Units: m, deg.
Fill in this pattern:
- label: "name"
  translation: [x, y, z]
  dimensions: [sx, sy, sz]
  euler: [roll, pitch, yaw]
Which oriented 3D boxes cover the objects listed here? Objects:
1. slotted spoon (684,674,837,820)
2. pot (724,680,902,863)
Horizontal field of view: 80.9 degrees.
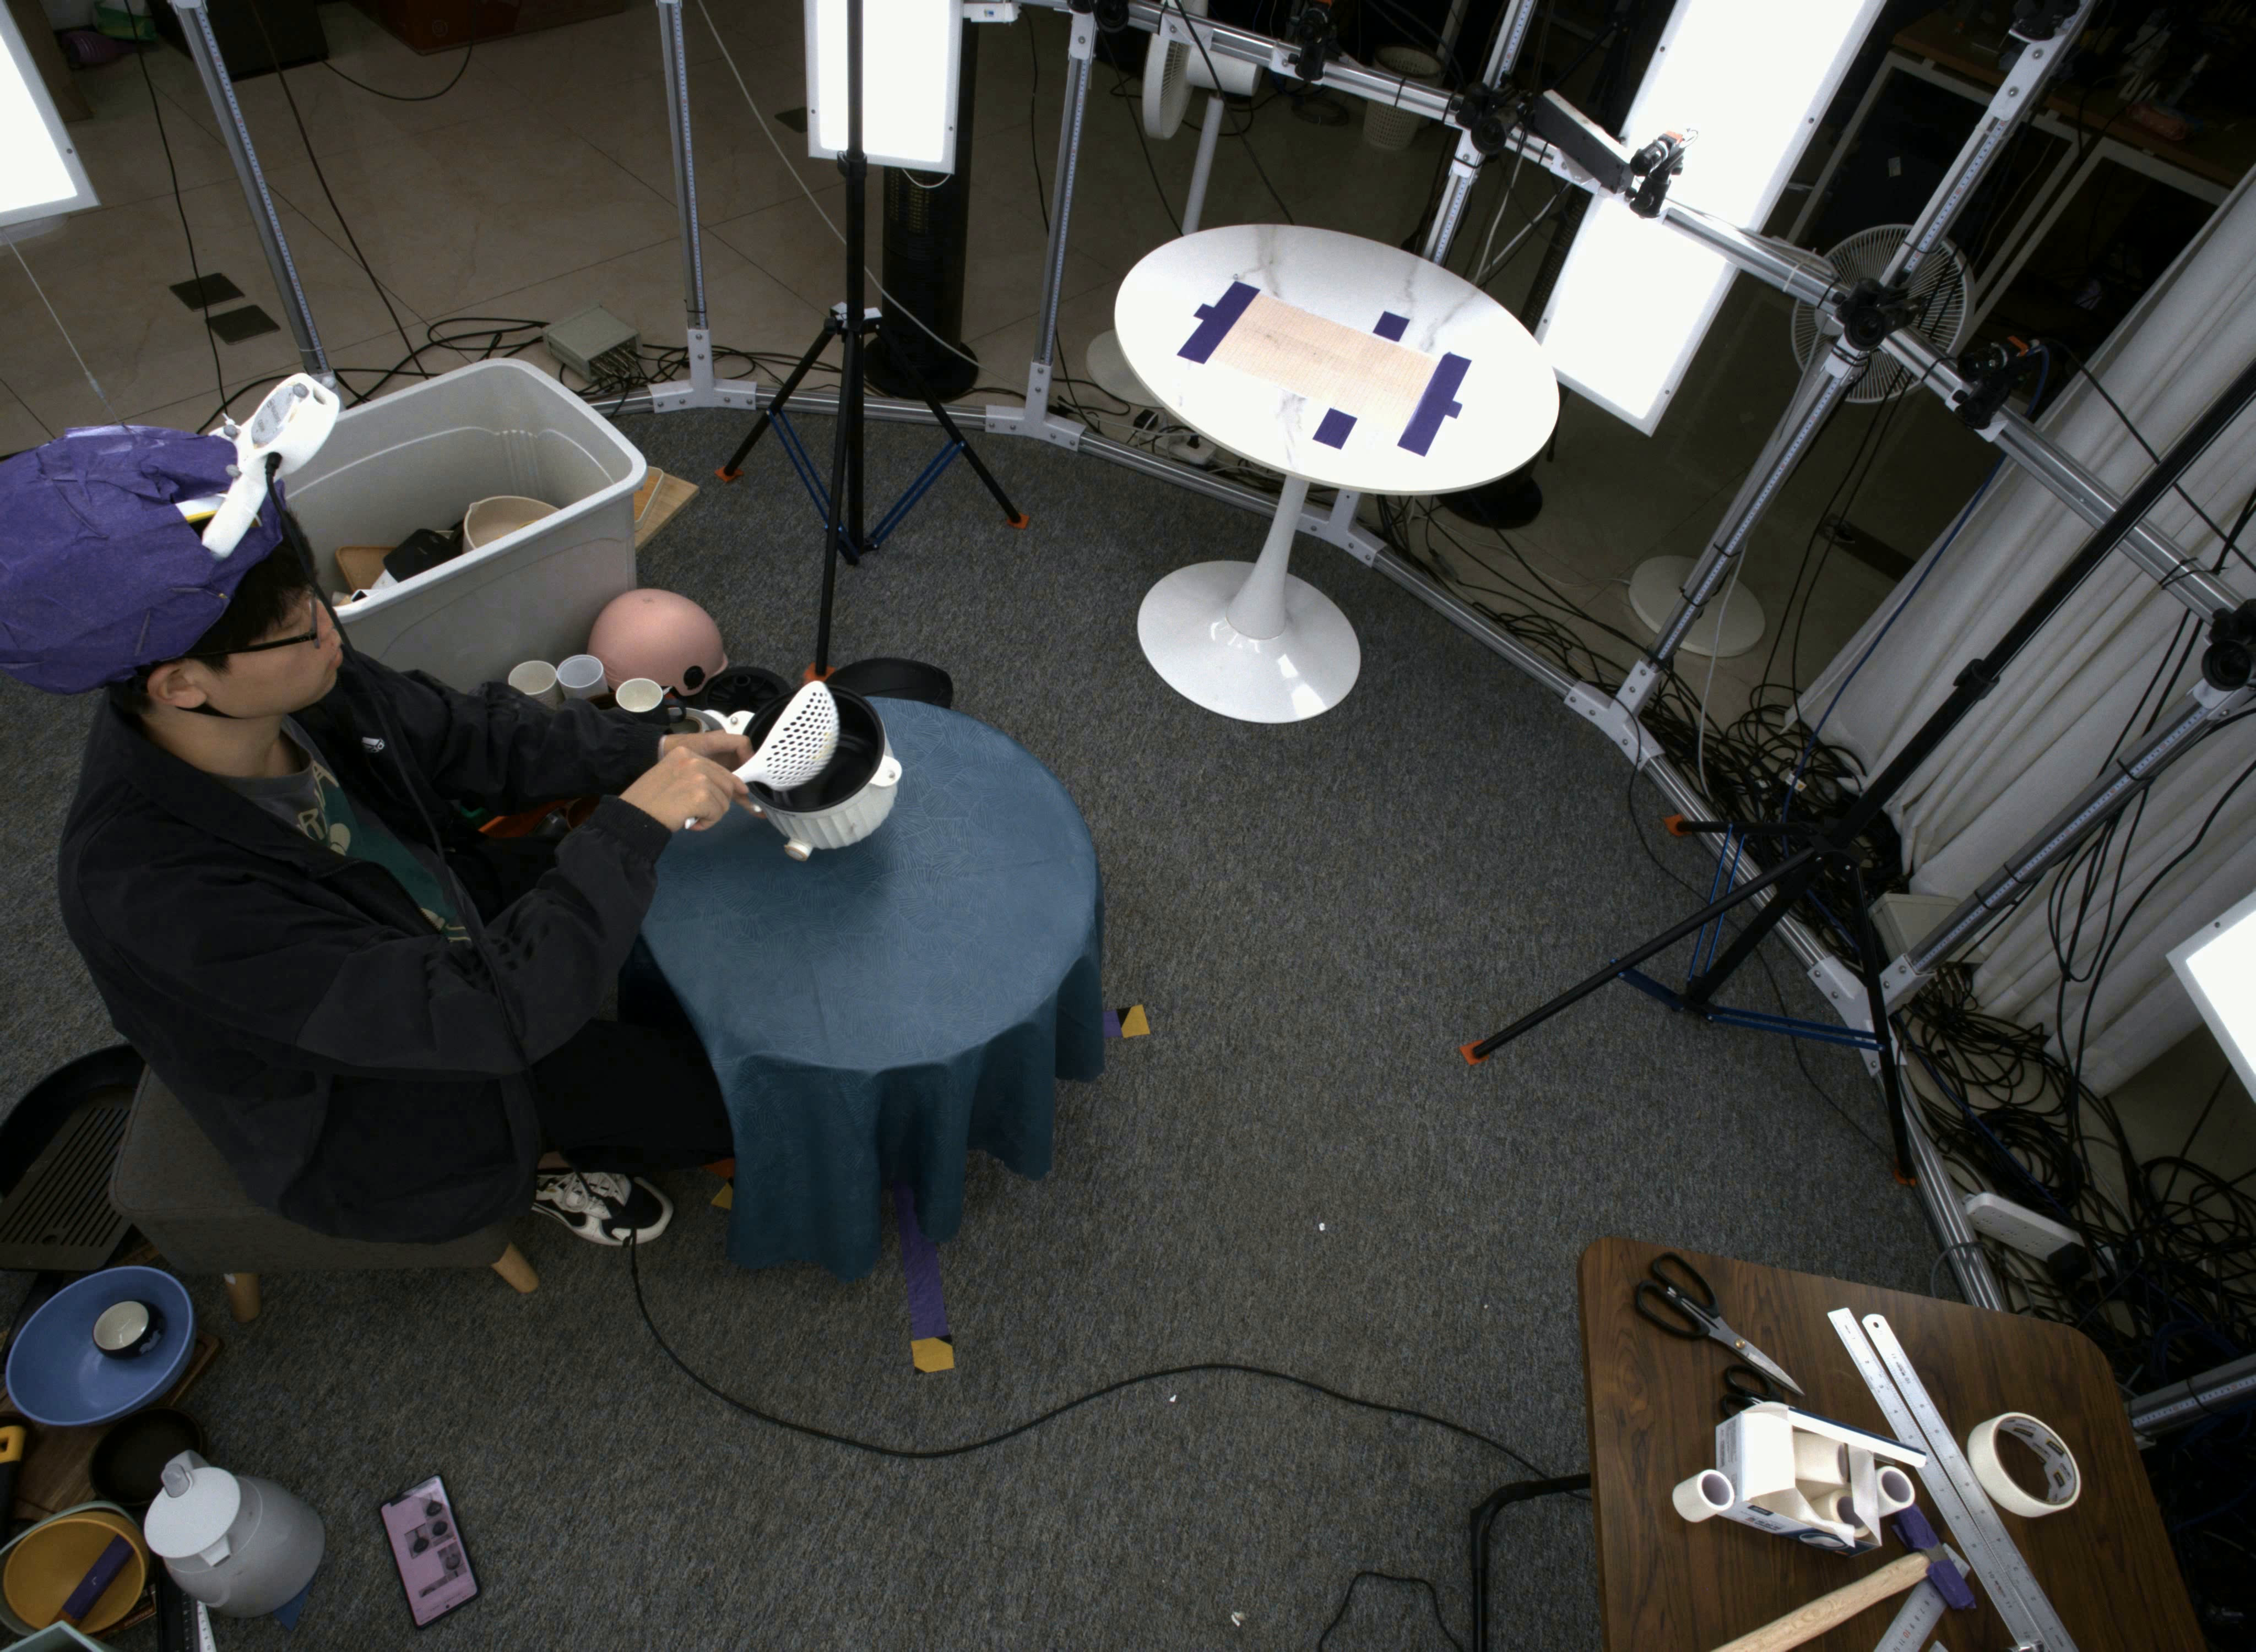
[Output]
- label: "slotted spoon"
  translation: [-0.415, -0.071, 1.467]
  dimensions: [0.049, 0.140, 0.347]
  euler: [18, 26, 14]
- label: "pot"
  translation: [-0.383, -0.063, 1.625]
  dimensions: [0.235, 0.146, 0.189]
  euler: [17, 61, 11]
